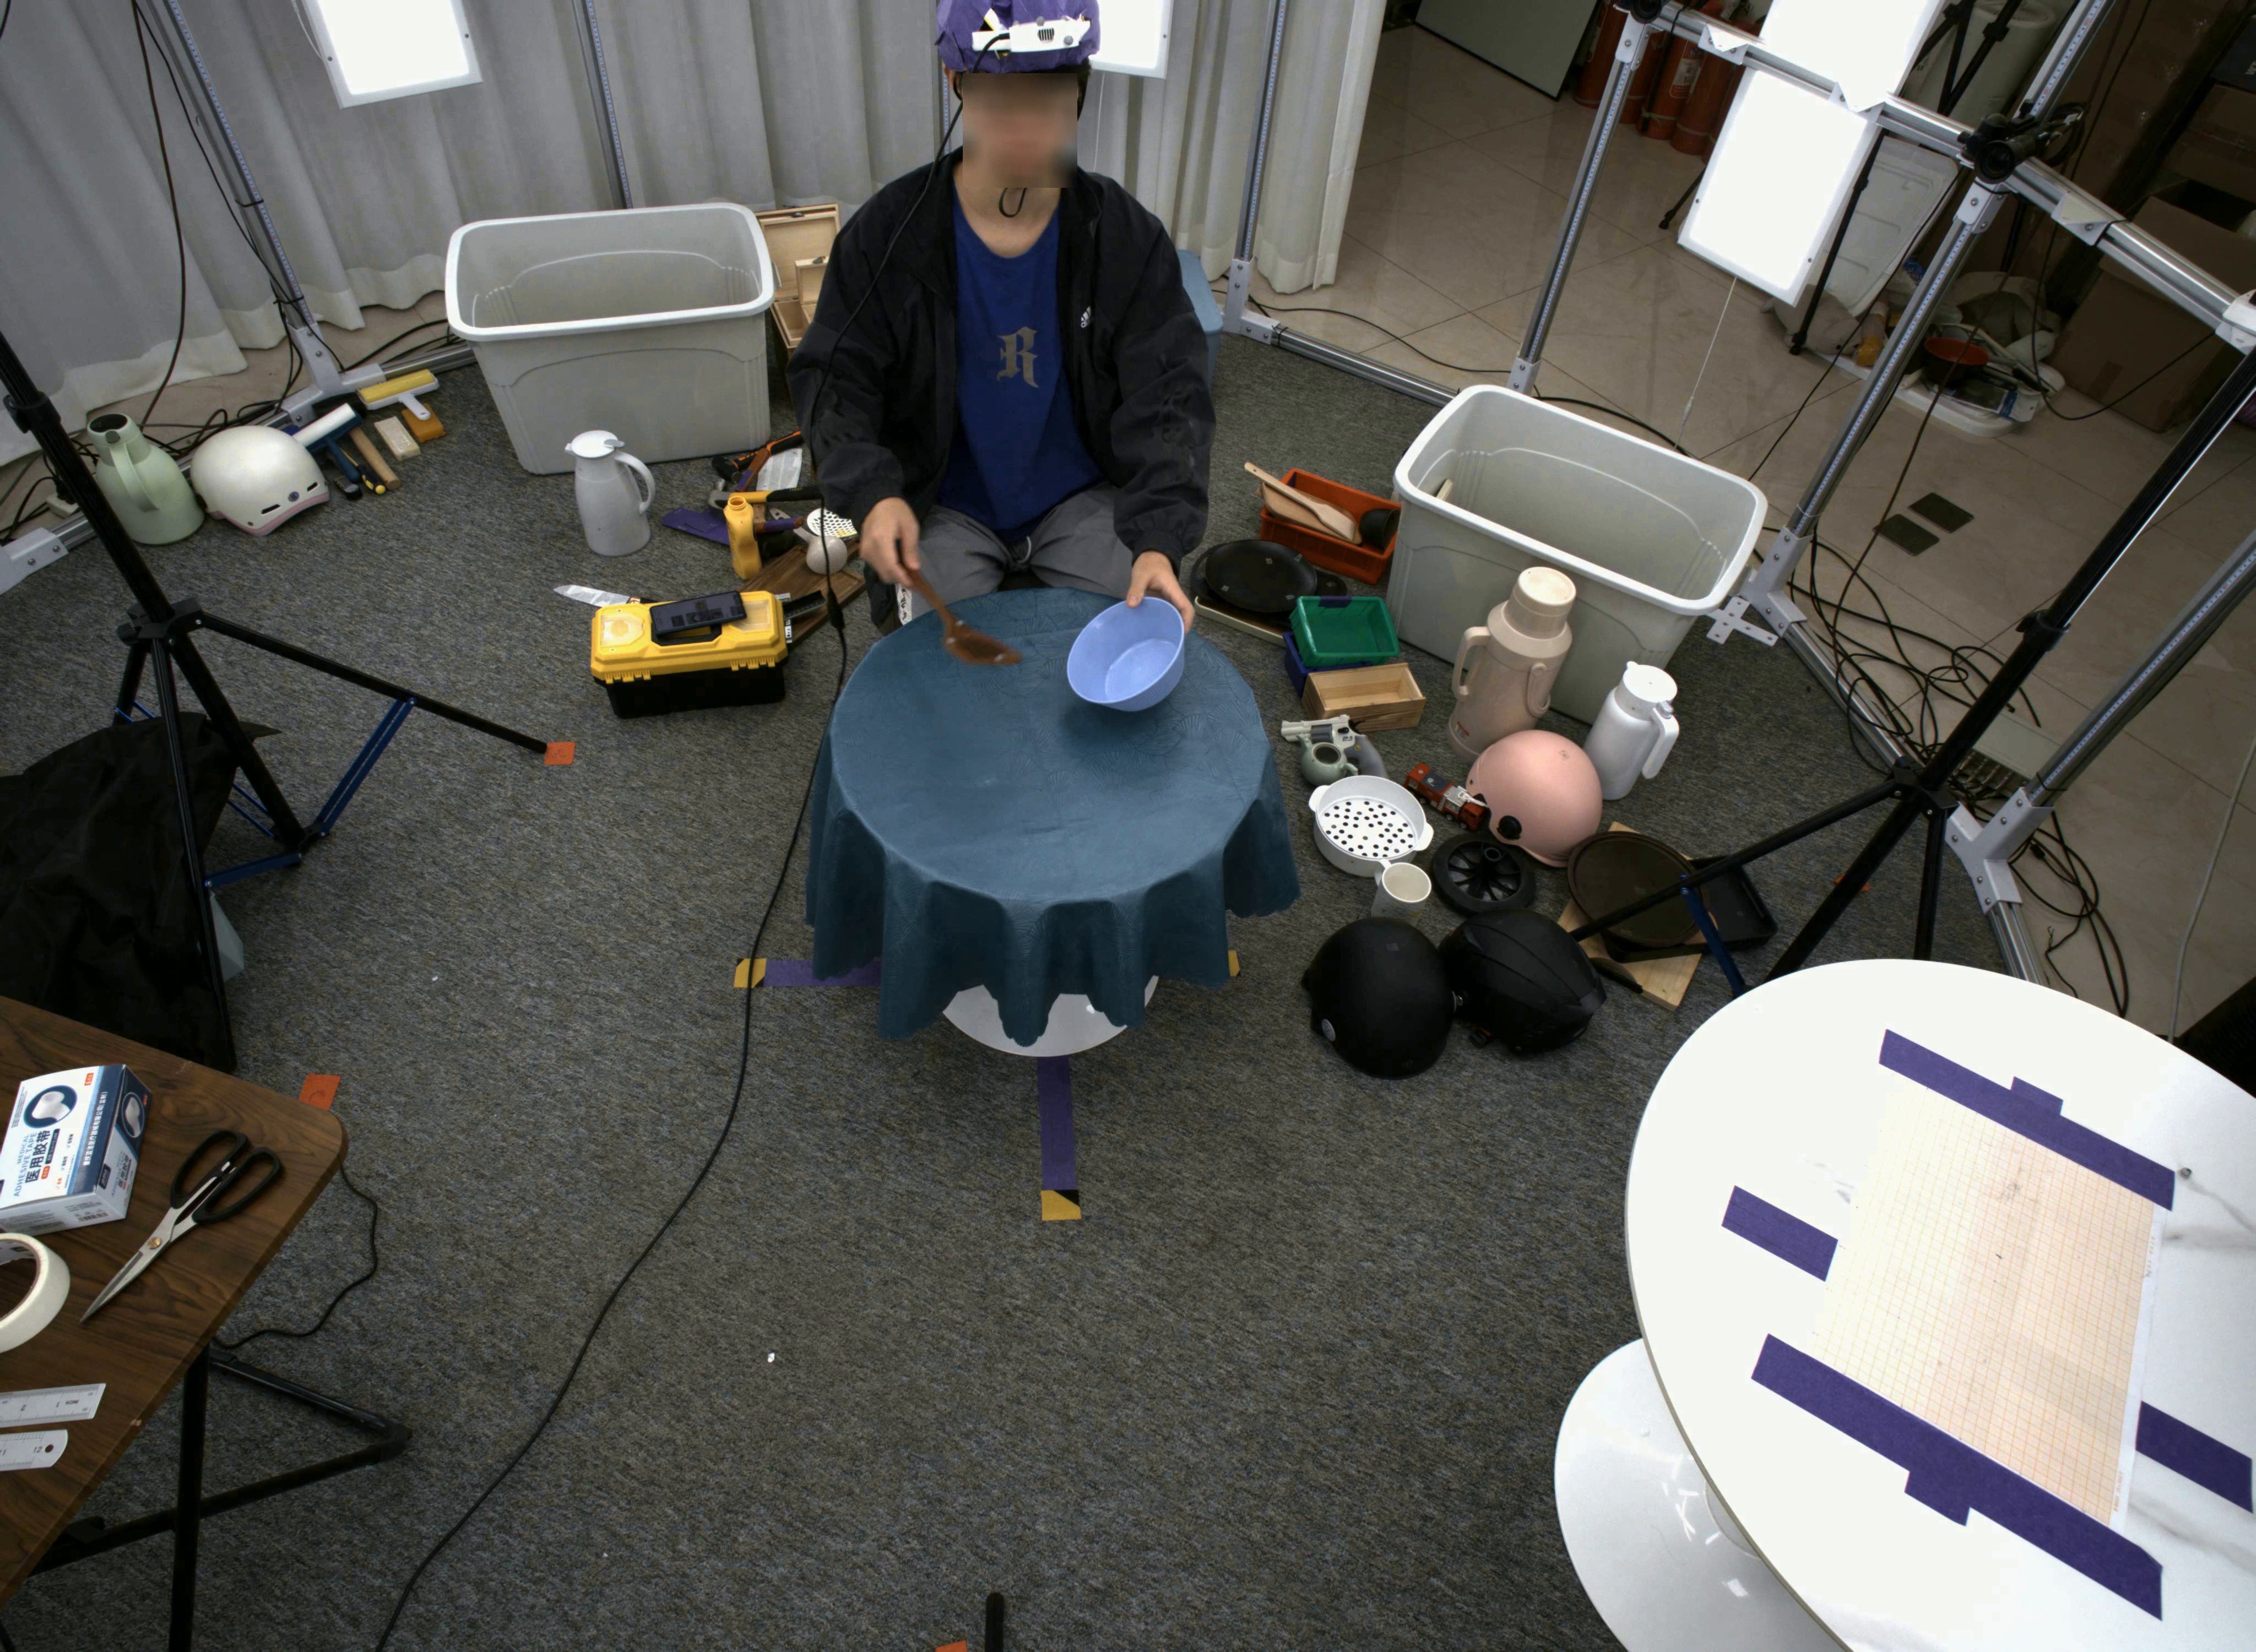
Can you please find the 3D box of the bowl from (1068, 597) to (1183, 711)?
[{"bbox_3d":[0.009,-0.224,1.763,0.175,0.069,0.180,-16,53,23],"label":"bowl"}]

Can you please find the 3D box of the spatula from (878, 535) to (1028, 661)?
[{"bbox_3d":[-0.255,-0.309,1.744,0.085,0.023,0.395,-8,38,-32],"label":"spatula"}]
